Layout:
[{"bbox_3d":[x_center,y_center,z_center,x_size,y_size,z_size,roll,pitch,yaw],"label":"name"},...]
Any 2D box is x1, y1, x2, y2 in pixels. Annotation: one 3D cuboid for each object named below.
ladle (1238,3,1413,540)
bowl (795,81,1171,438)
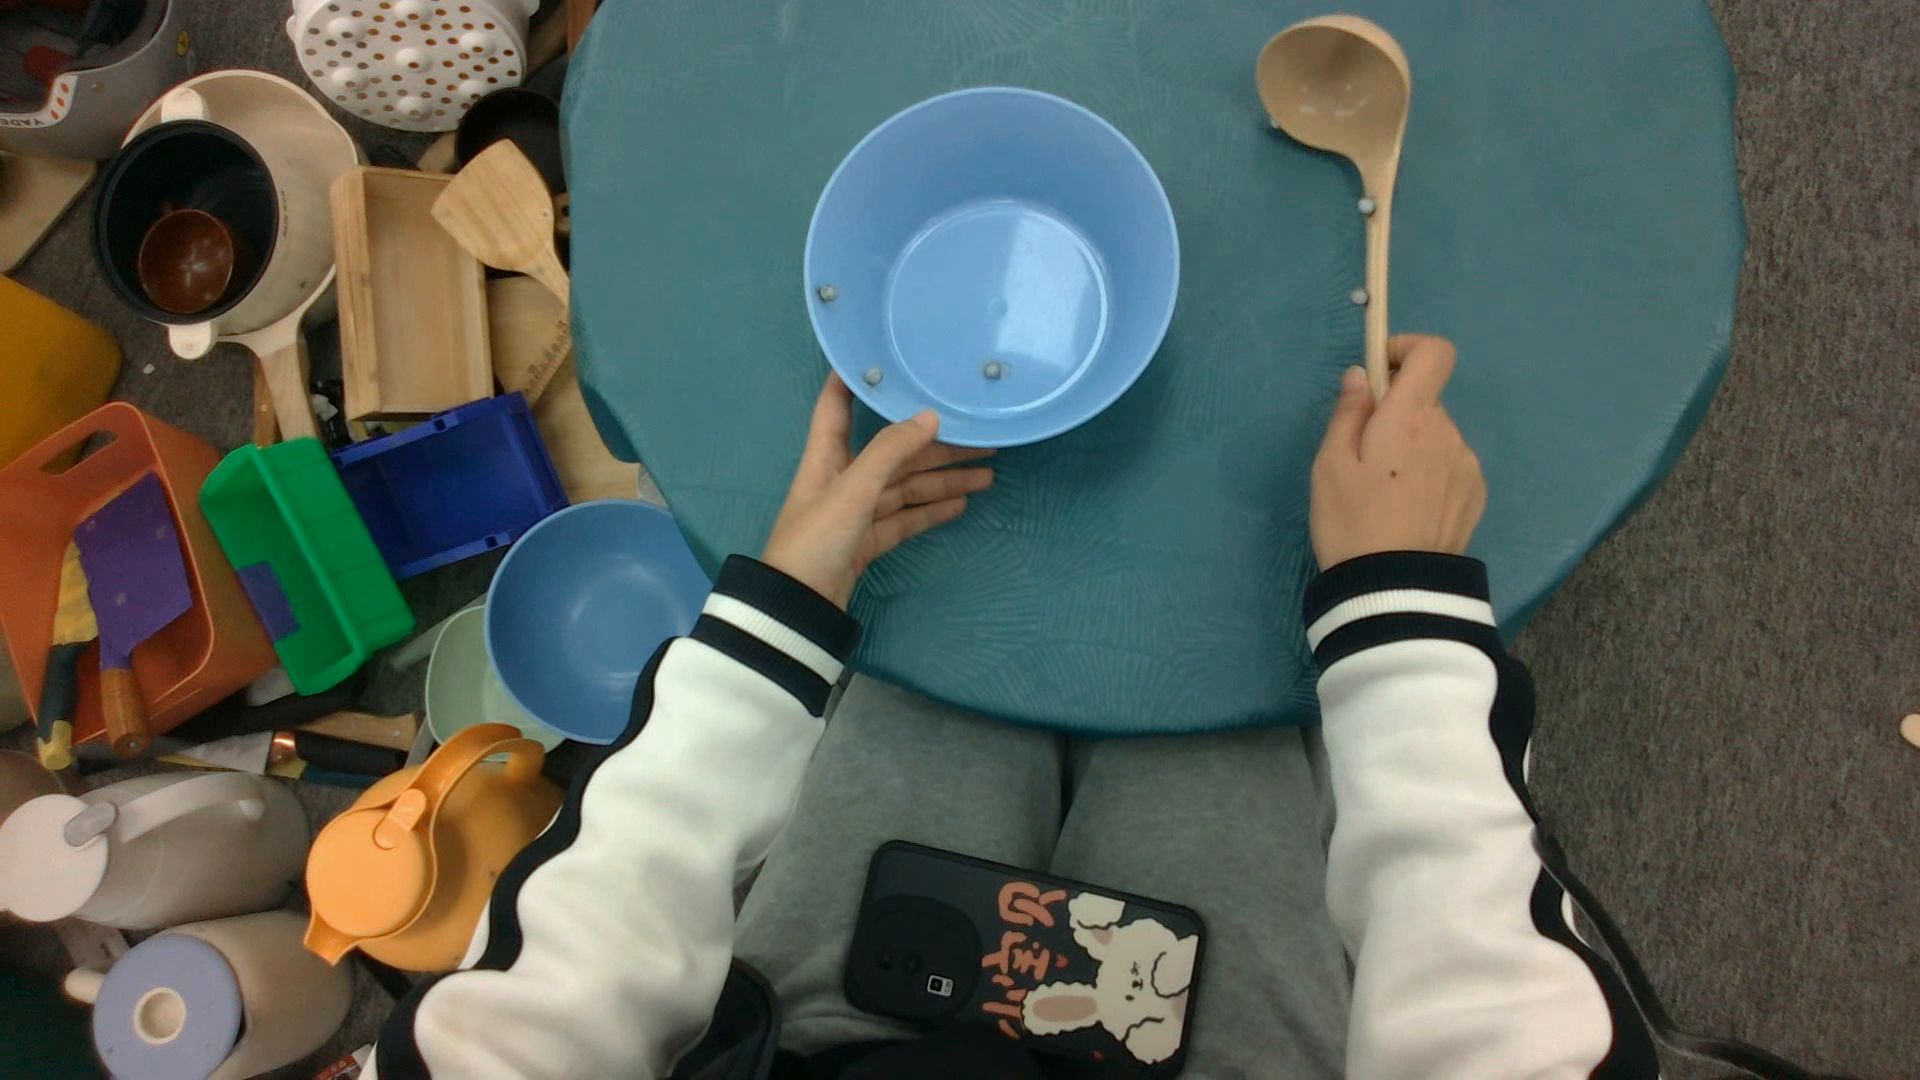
[{"bbox_3d":[0.171,-0.128,0.638,0.073,0.072,0.255,11,71,-34],"label":"ladle"},{"bbox_3d":[0.013,-0.127,0.672,0.176,0.070,0.176,-1,79,5],"label":"bowl"}]
